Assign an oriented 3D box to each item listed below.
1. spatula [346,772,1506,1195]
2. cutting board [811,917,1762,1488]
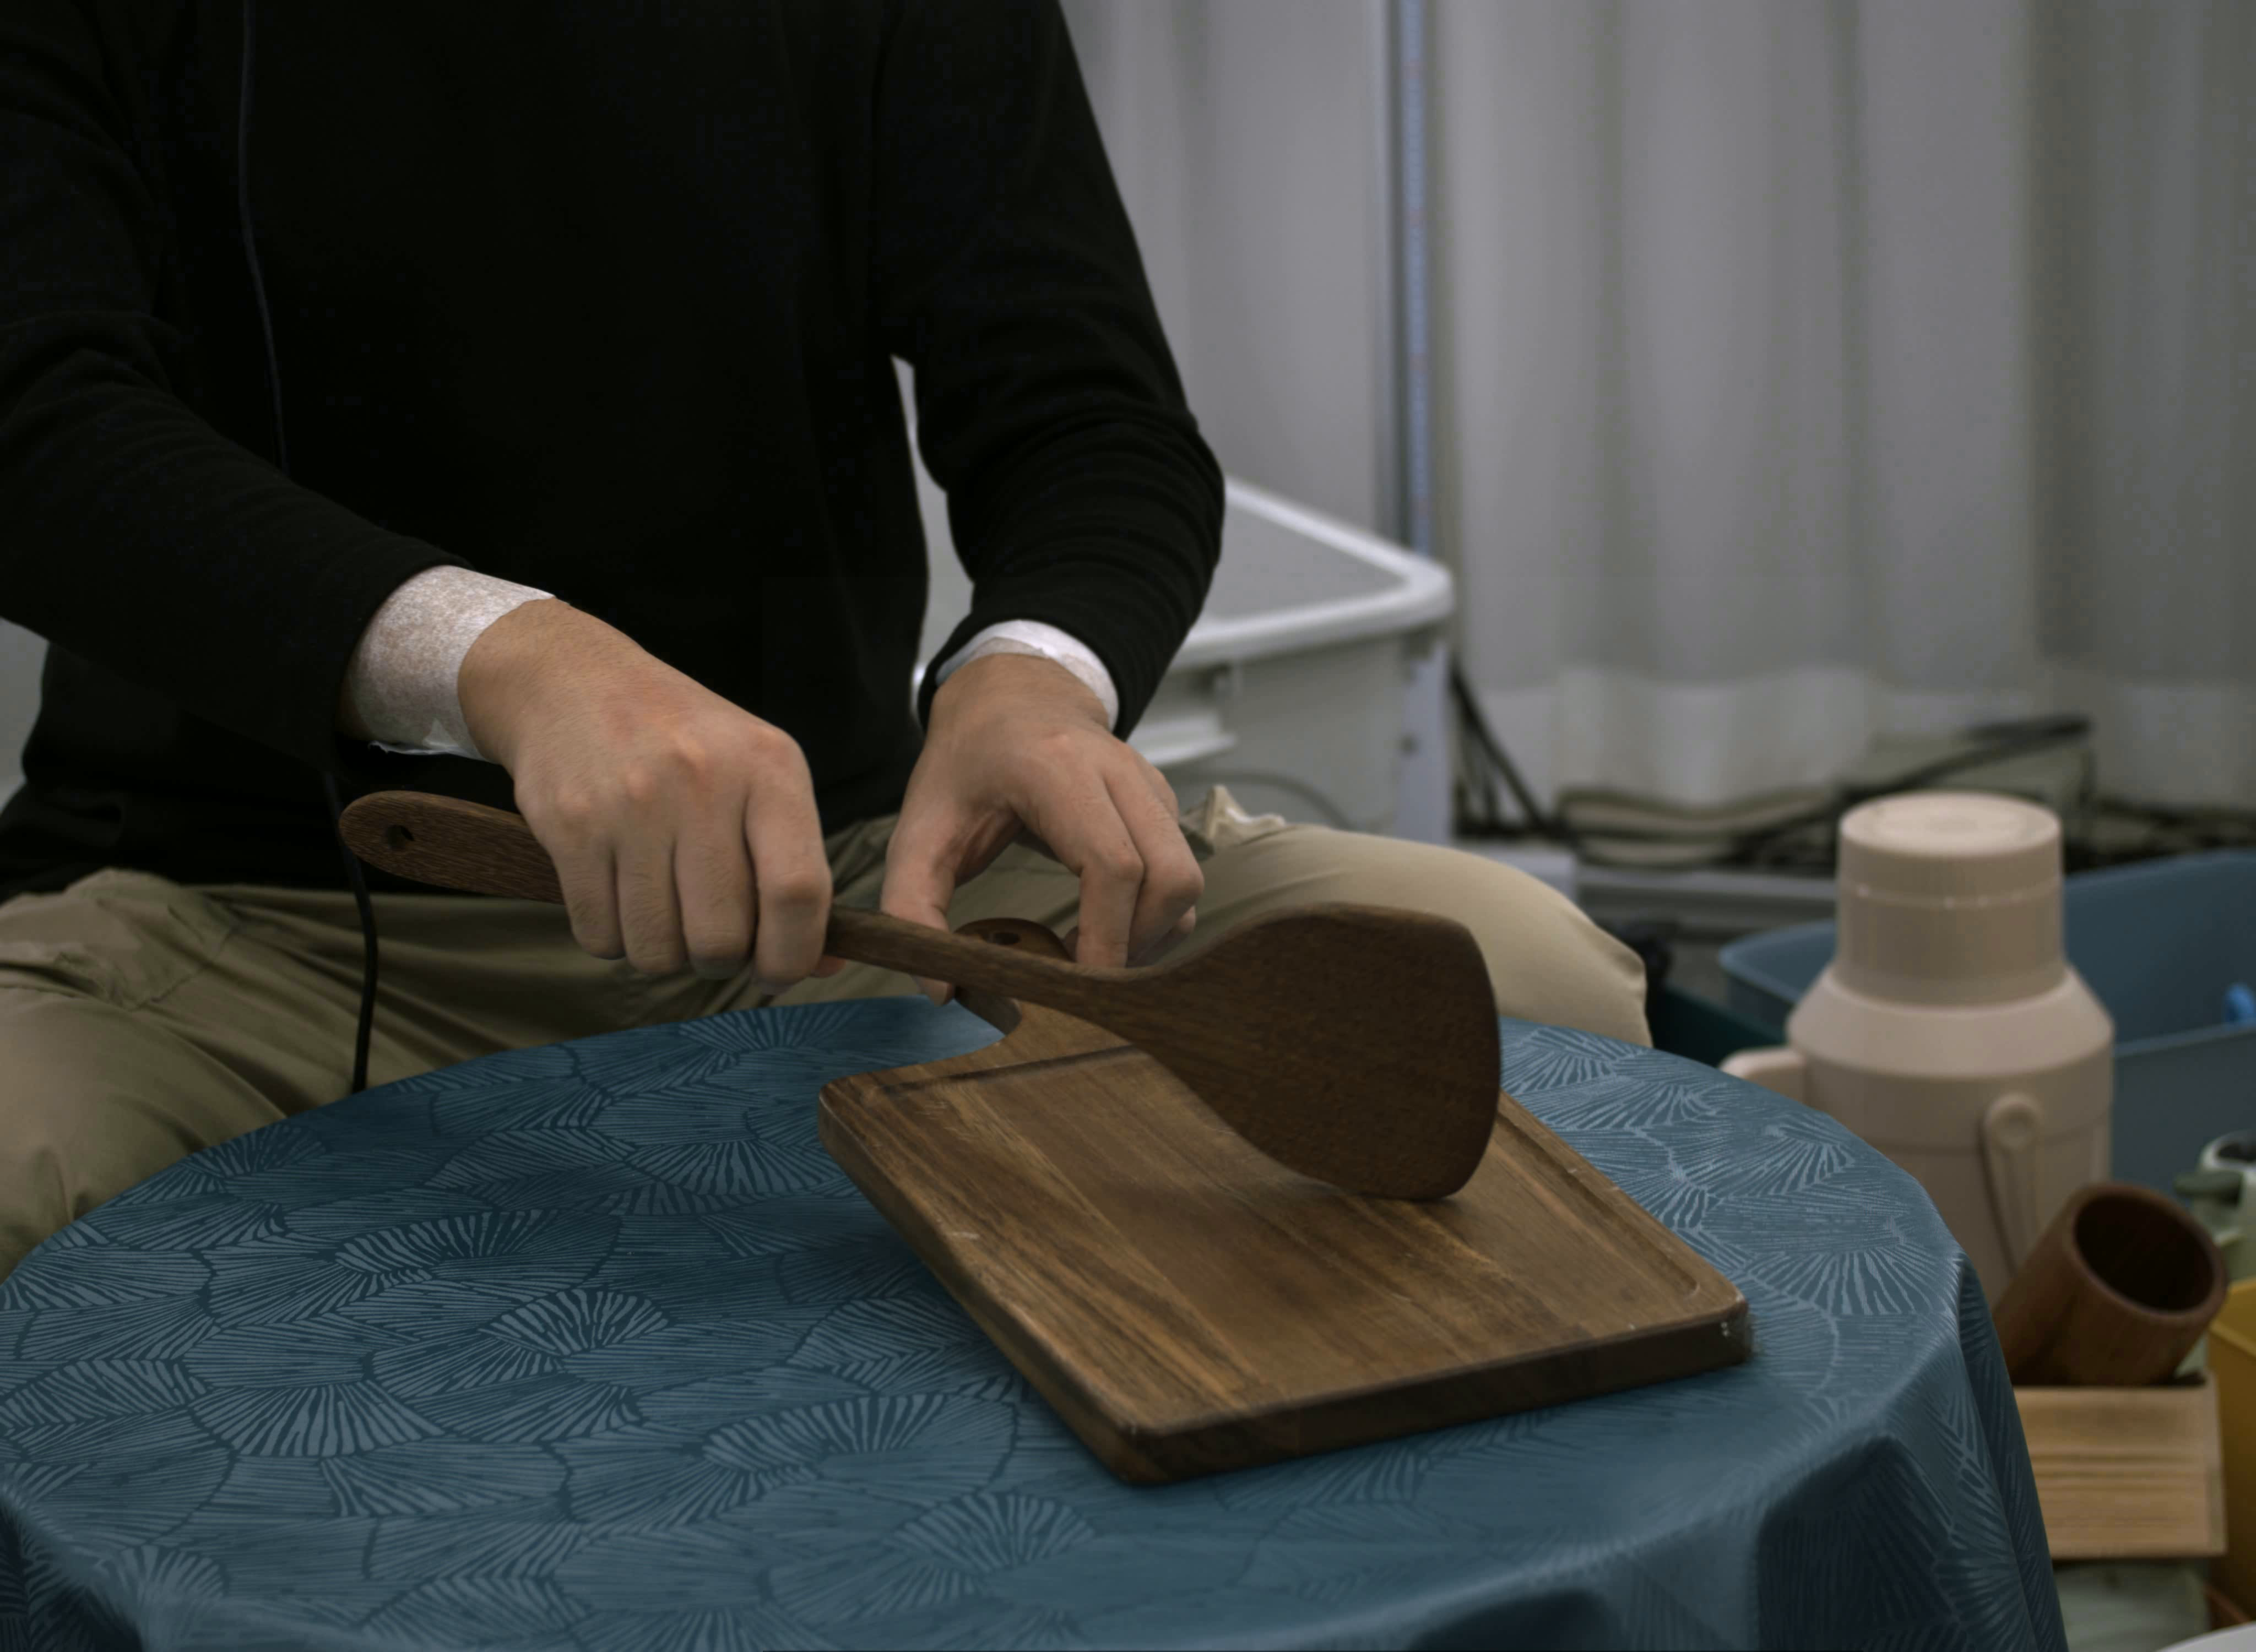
[{"bbox_3d":[-0.068,0.032,1.650,0.387,0.095,0.016,13,26,22],"label":"spatula"},{"bbox_3d":[0.021,0.098,1.650,0.200,0.023,0.356,-9,23,-22],"label":"cutting board"}]
